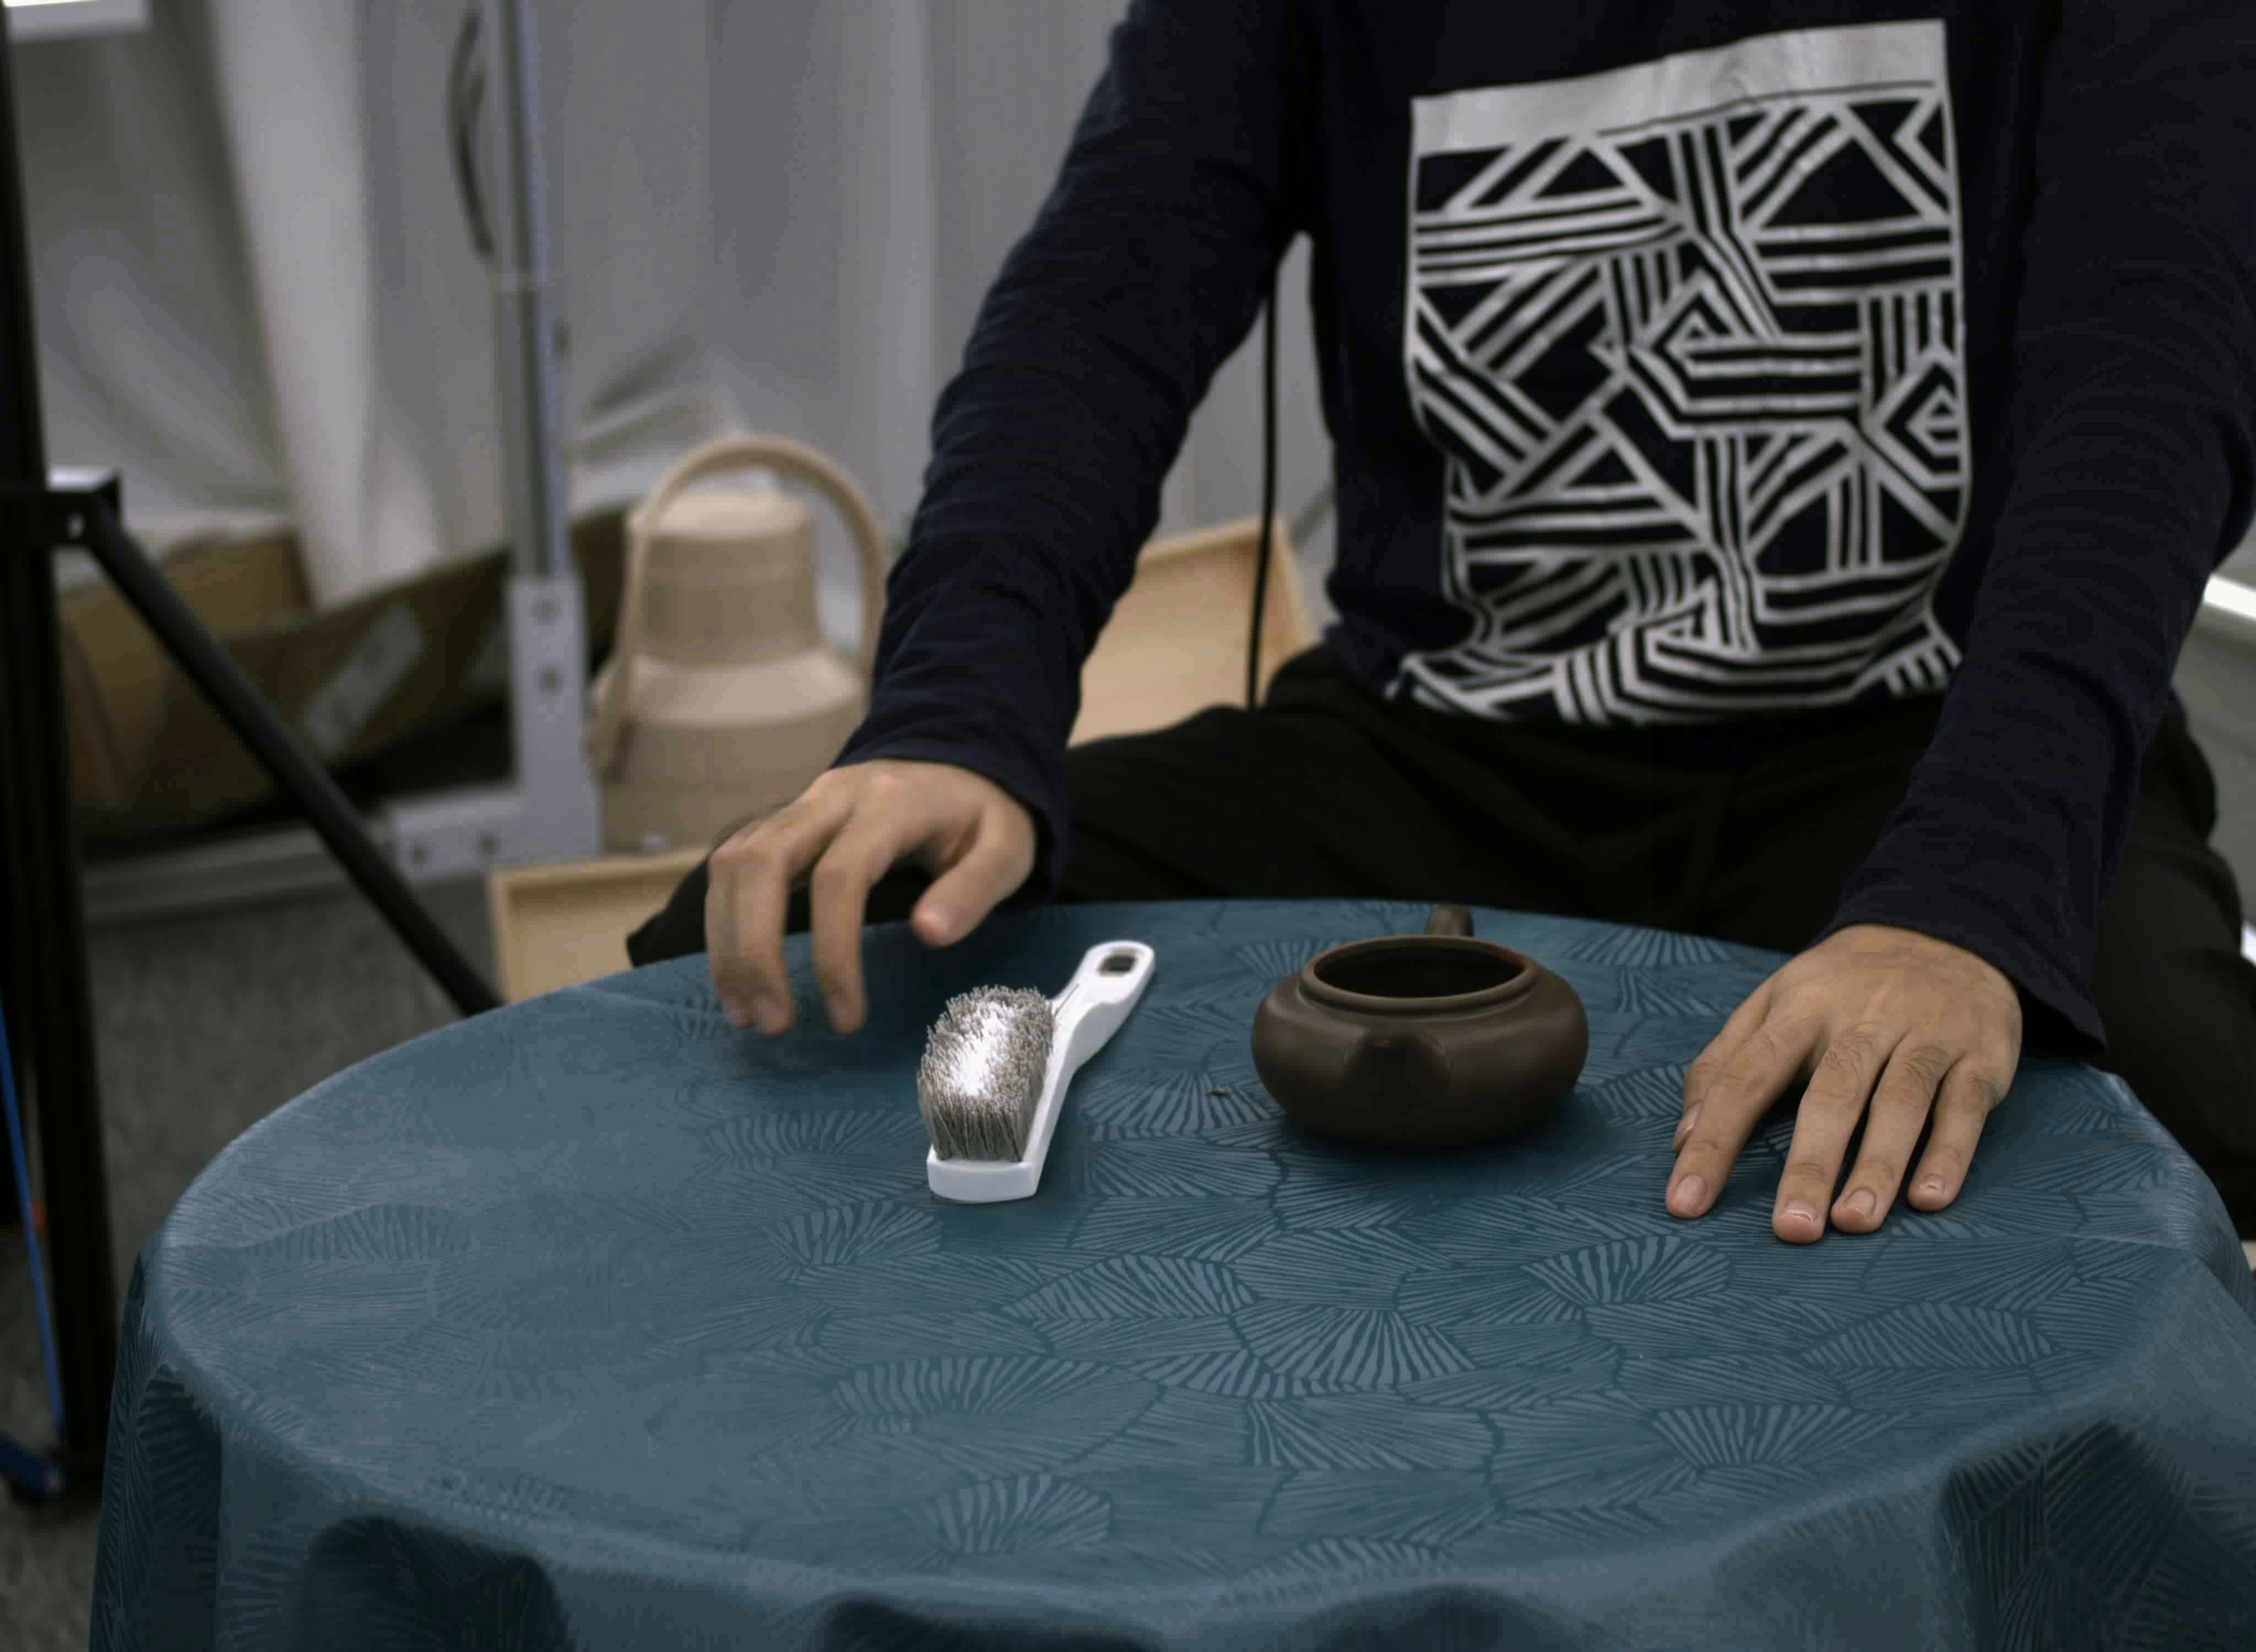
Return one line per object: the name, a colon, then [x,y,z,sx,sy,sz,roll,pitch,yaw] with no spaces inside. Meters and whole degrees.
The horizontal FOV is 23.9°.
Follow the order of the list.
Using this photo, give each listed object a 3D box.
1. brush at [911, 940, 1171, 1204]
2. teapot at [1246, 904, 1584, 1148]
brush: [-0.023,0.057,1.655,0.034,0.050,0.242,-2,16,14]
teapot: [0.088,0.062,1.611,0.102,0.054,0.153,-1,16,6]
